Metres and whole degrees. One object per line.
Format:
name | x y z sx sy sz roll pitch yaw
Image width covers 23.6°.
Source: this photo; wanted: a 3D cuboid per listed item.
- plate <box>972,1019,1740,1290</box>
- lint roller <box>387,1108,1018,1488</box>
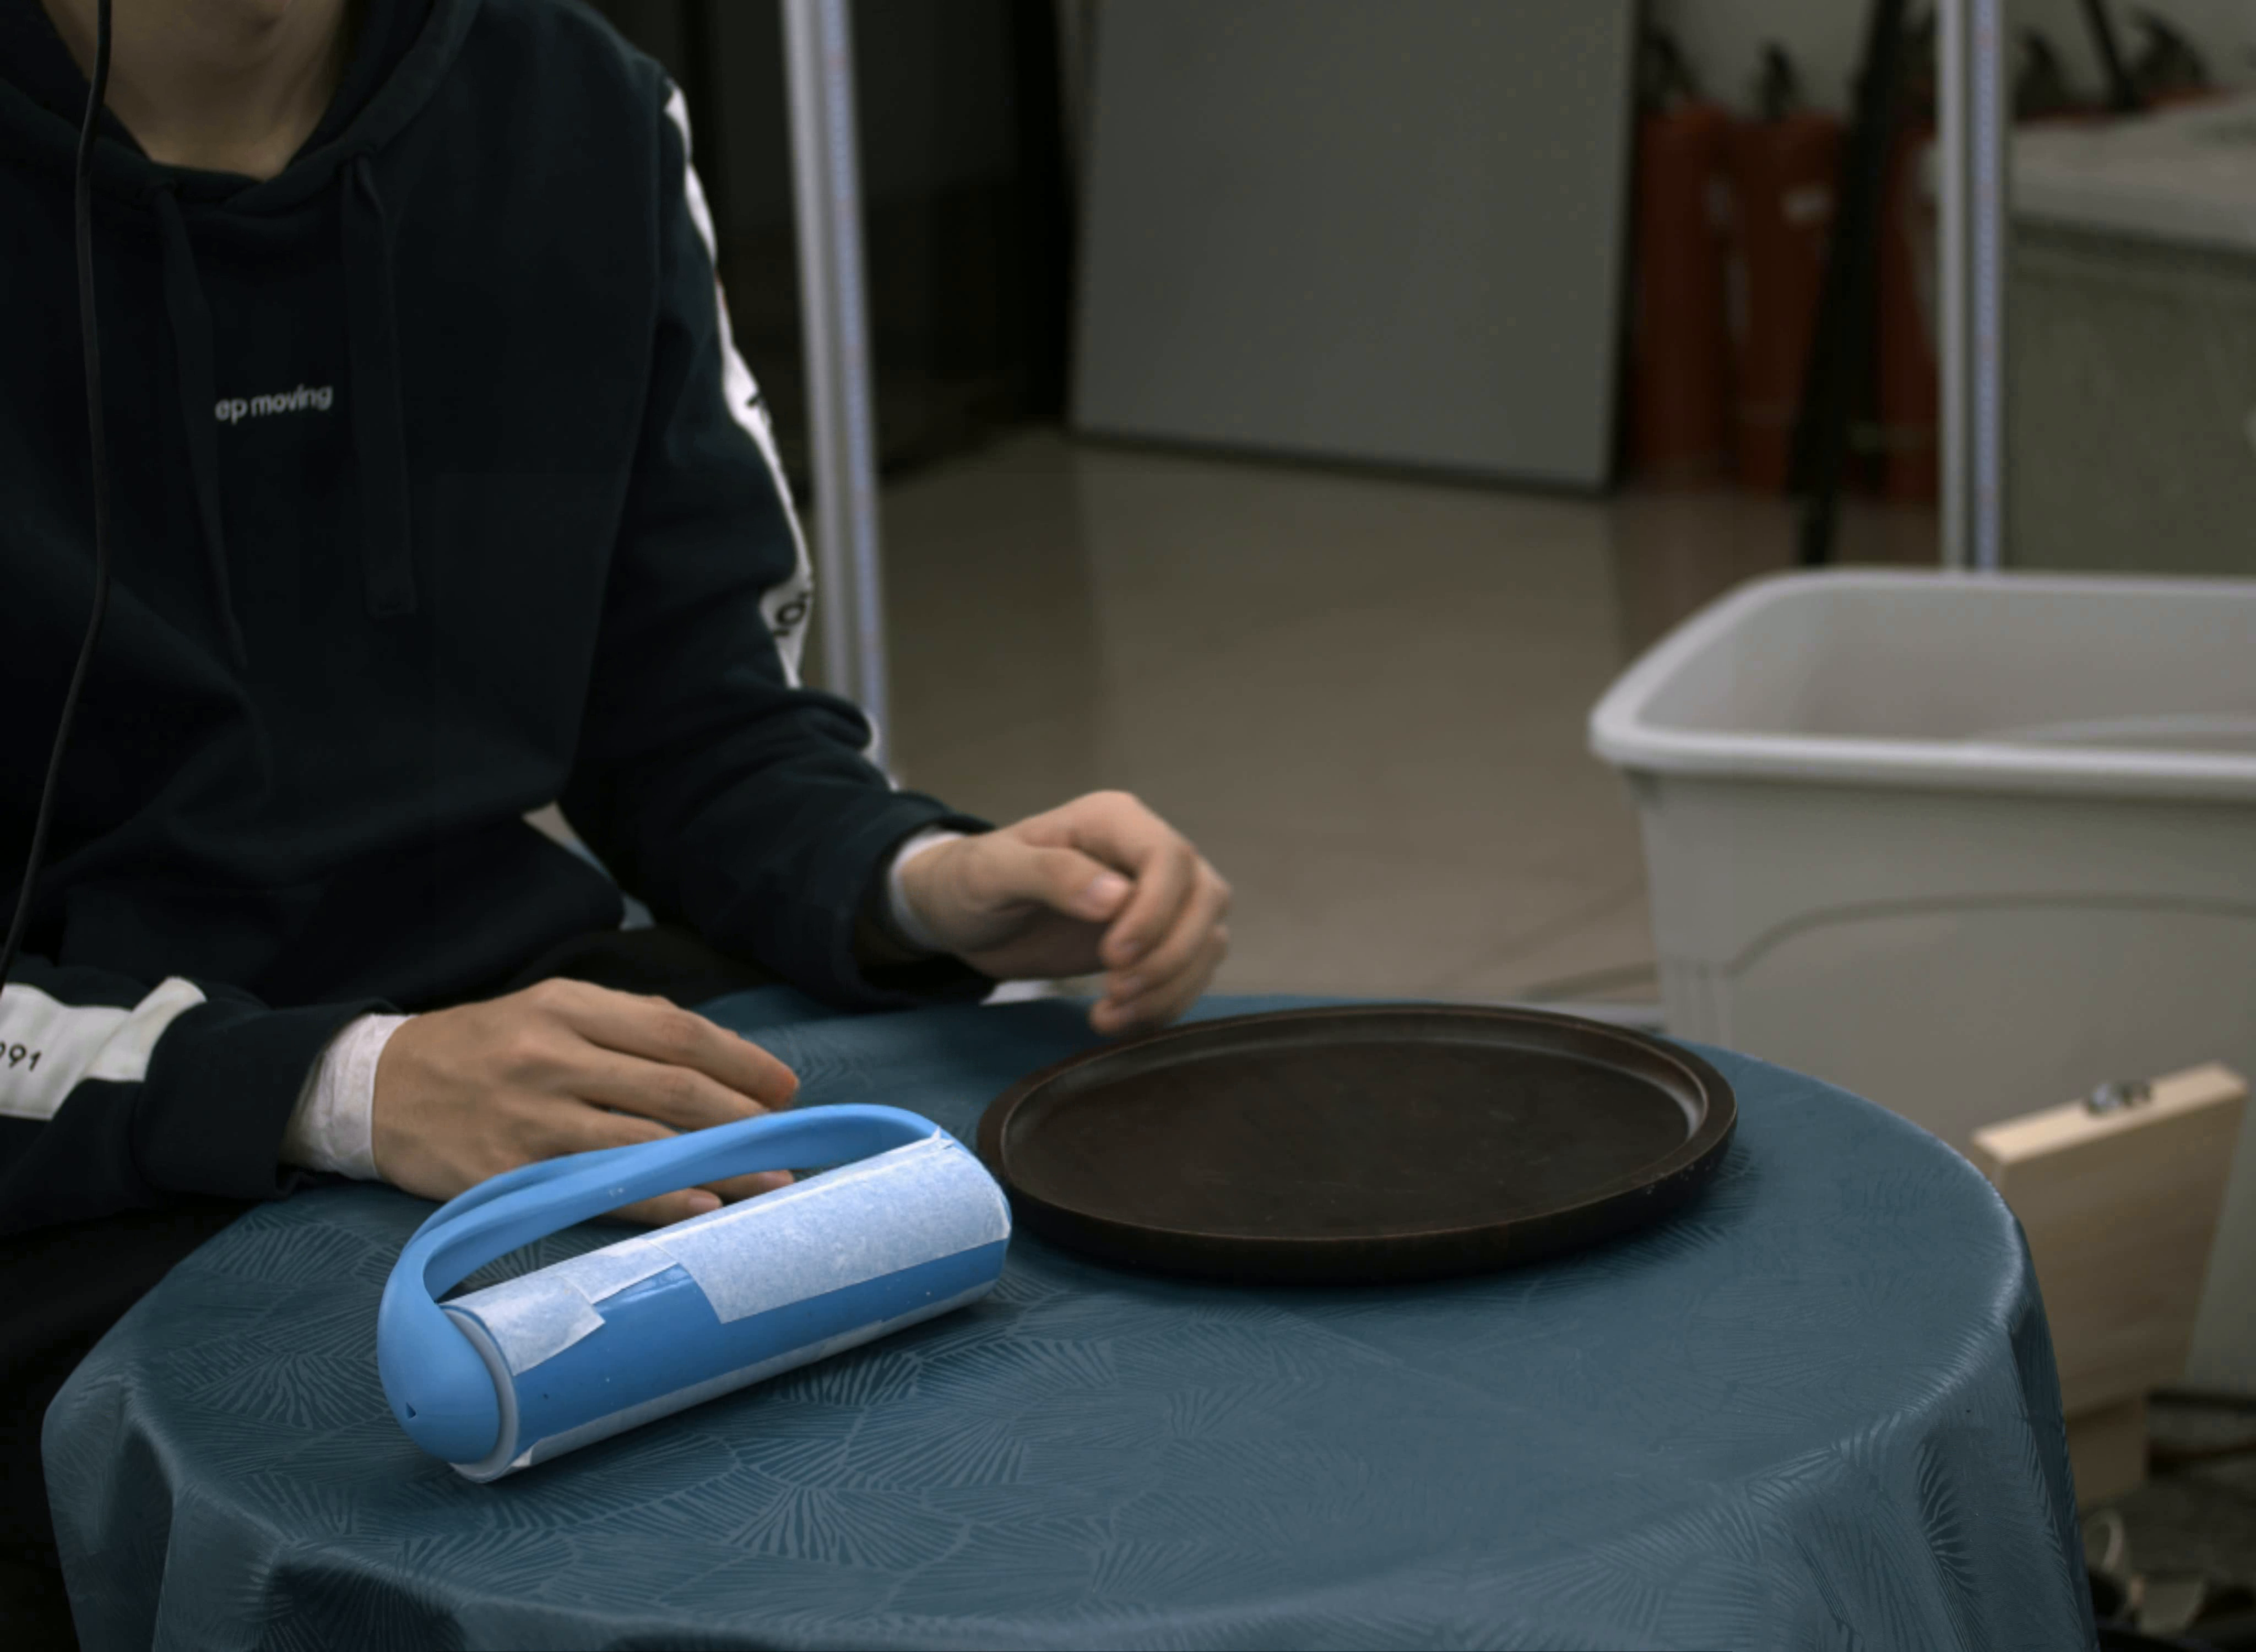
plate | 0.075 0.105 1.768 0.251 0.029 0.255 -3 14 0
lint roller | -0.163 0.134 1.648 0.182 0.068 0.224 10 21 43
